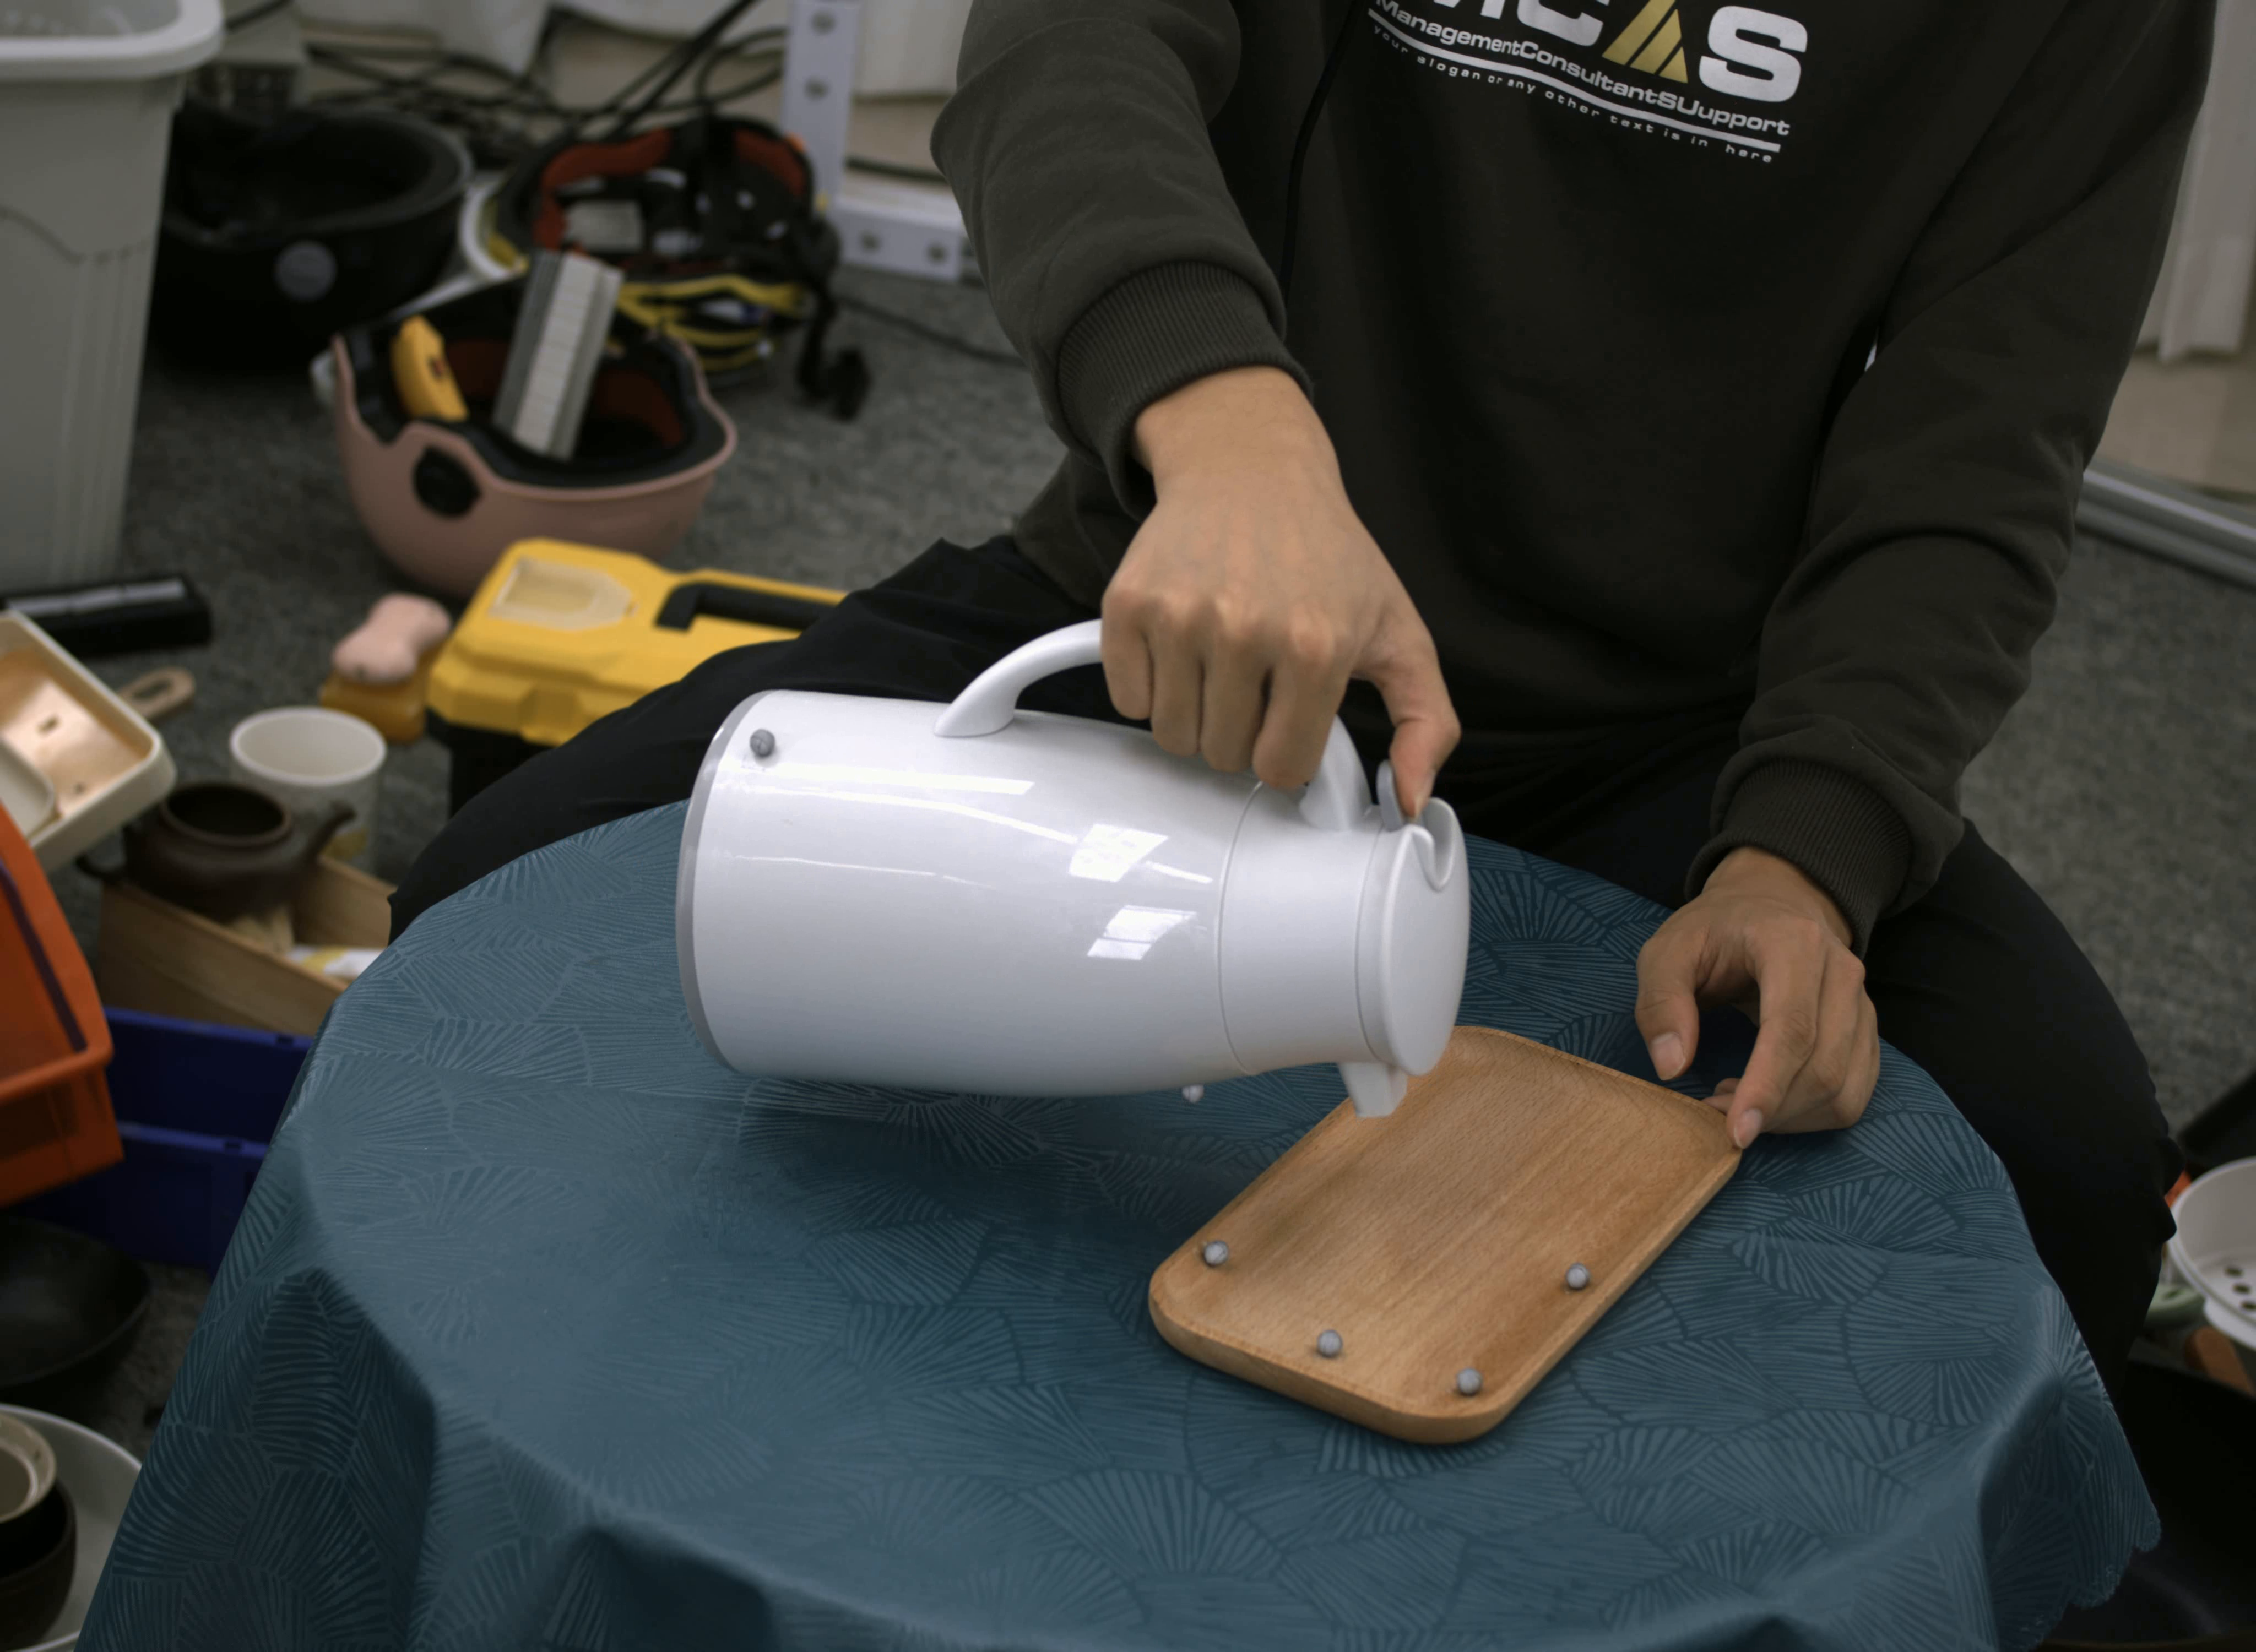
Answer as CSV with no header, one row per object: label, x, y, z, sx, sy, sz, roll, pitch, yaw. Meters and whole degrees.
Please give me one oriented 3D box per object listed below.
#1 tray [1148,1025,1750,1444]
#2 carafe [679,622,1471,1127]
tray,0.111,0.135,1.793,0.131,0.023,0.250,22,29,22
carafe,-0.012,0.012,1.764,0.249,0.167,0.132,5,24,21
